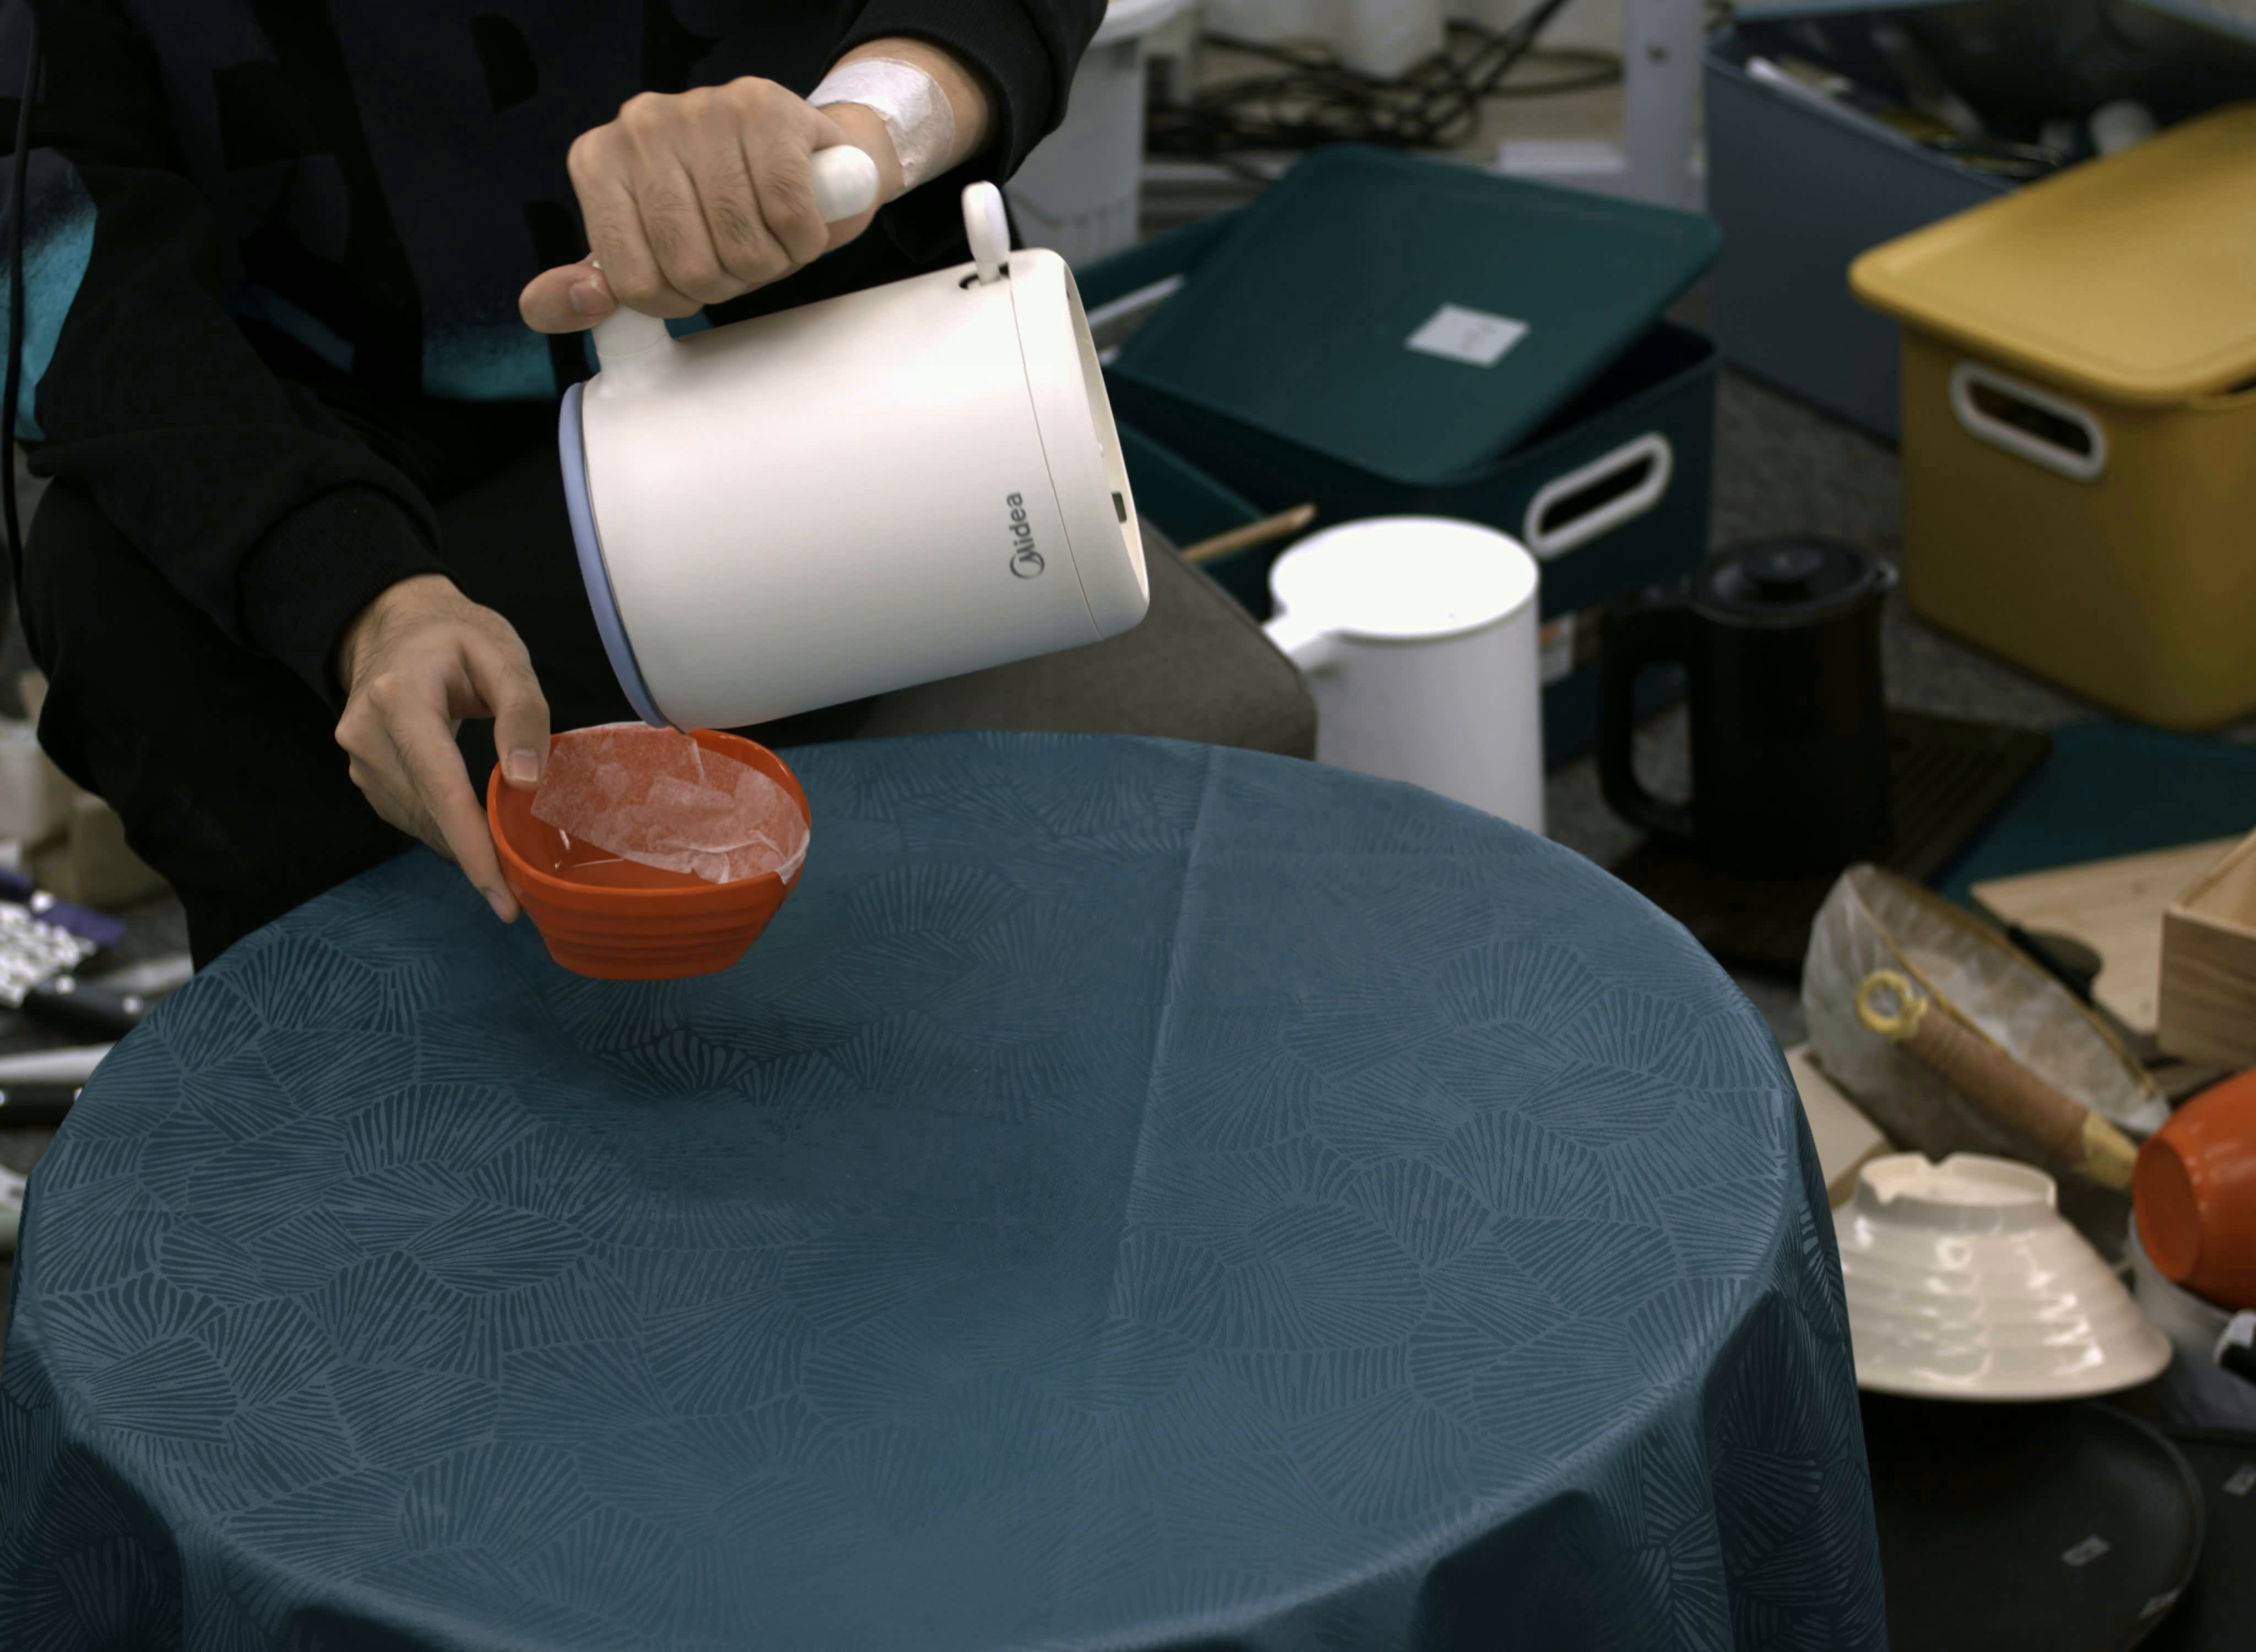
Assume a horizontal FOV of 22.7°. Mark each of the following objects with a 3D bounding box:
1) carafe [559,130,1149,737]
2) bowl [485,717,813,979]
[{"bbox_3d":[-0.094,-0.132,1.851,0.181,0.189,0.134,-13,24,1],"label":"carafe"},{"bbox_3d":[-0.164,0.013,1.922,0.118,0.050,0.121,3,33,-2],"label":"bowl"}]
